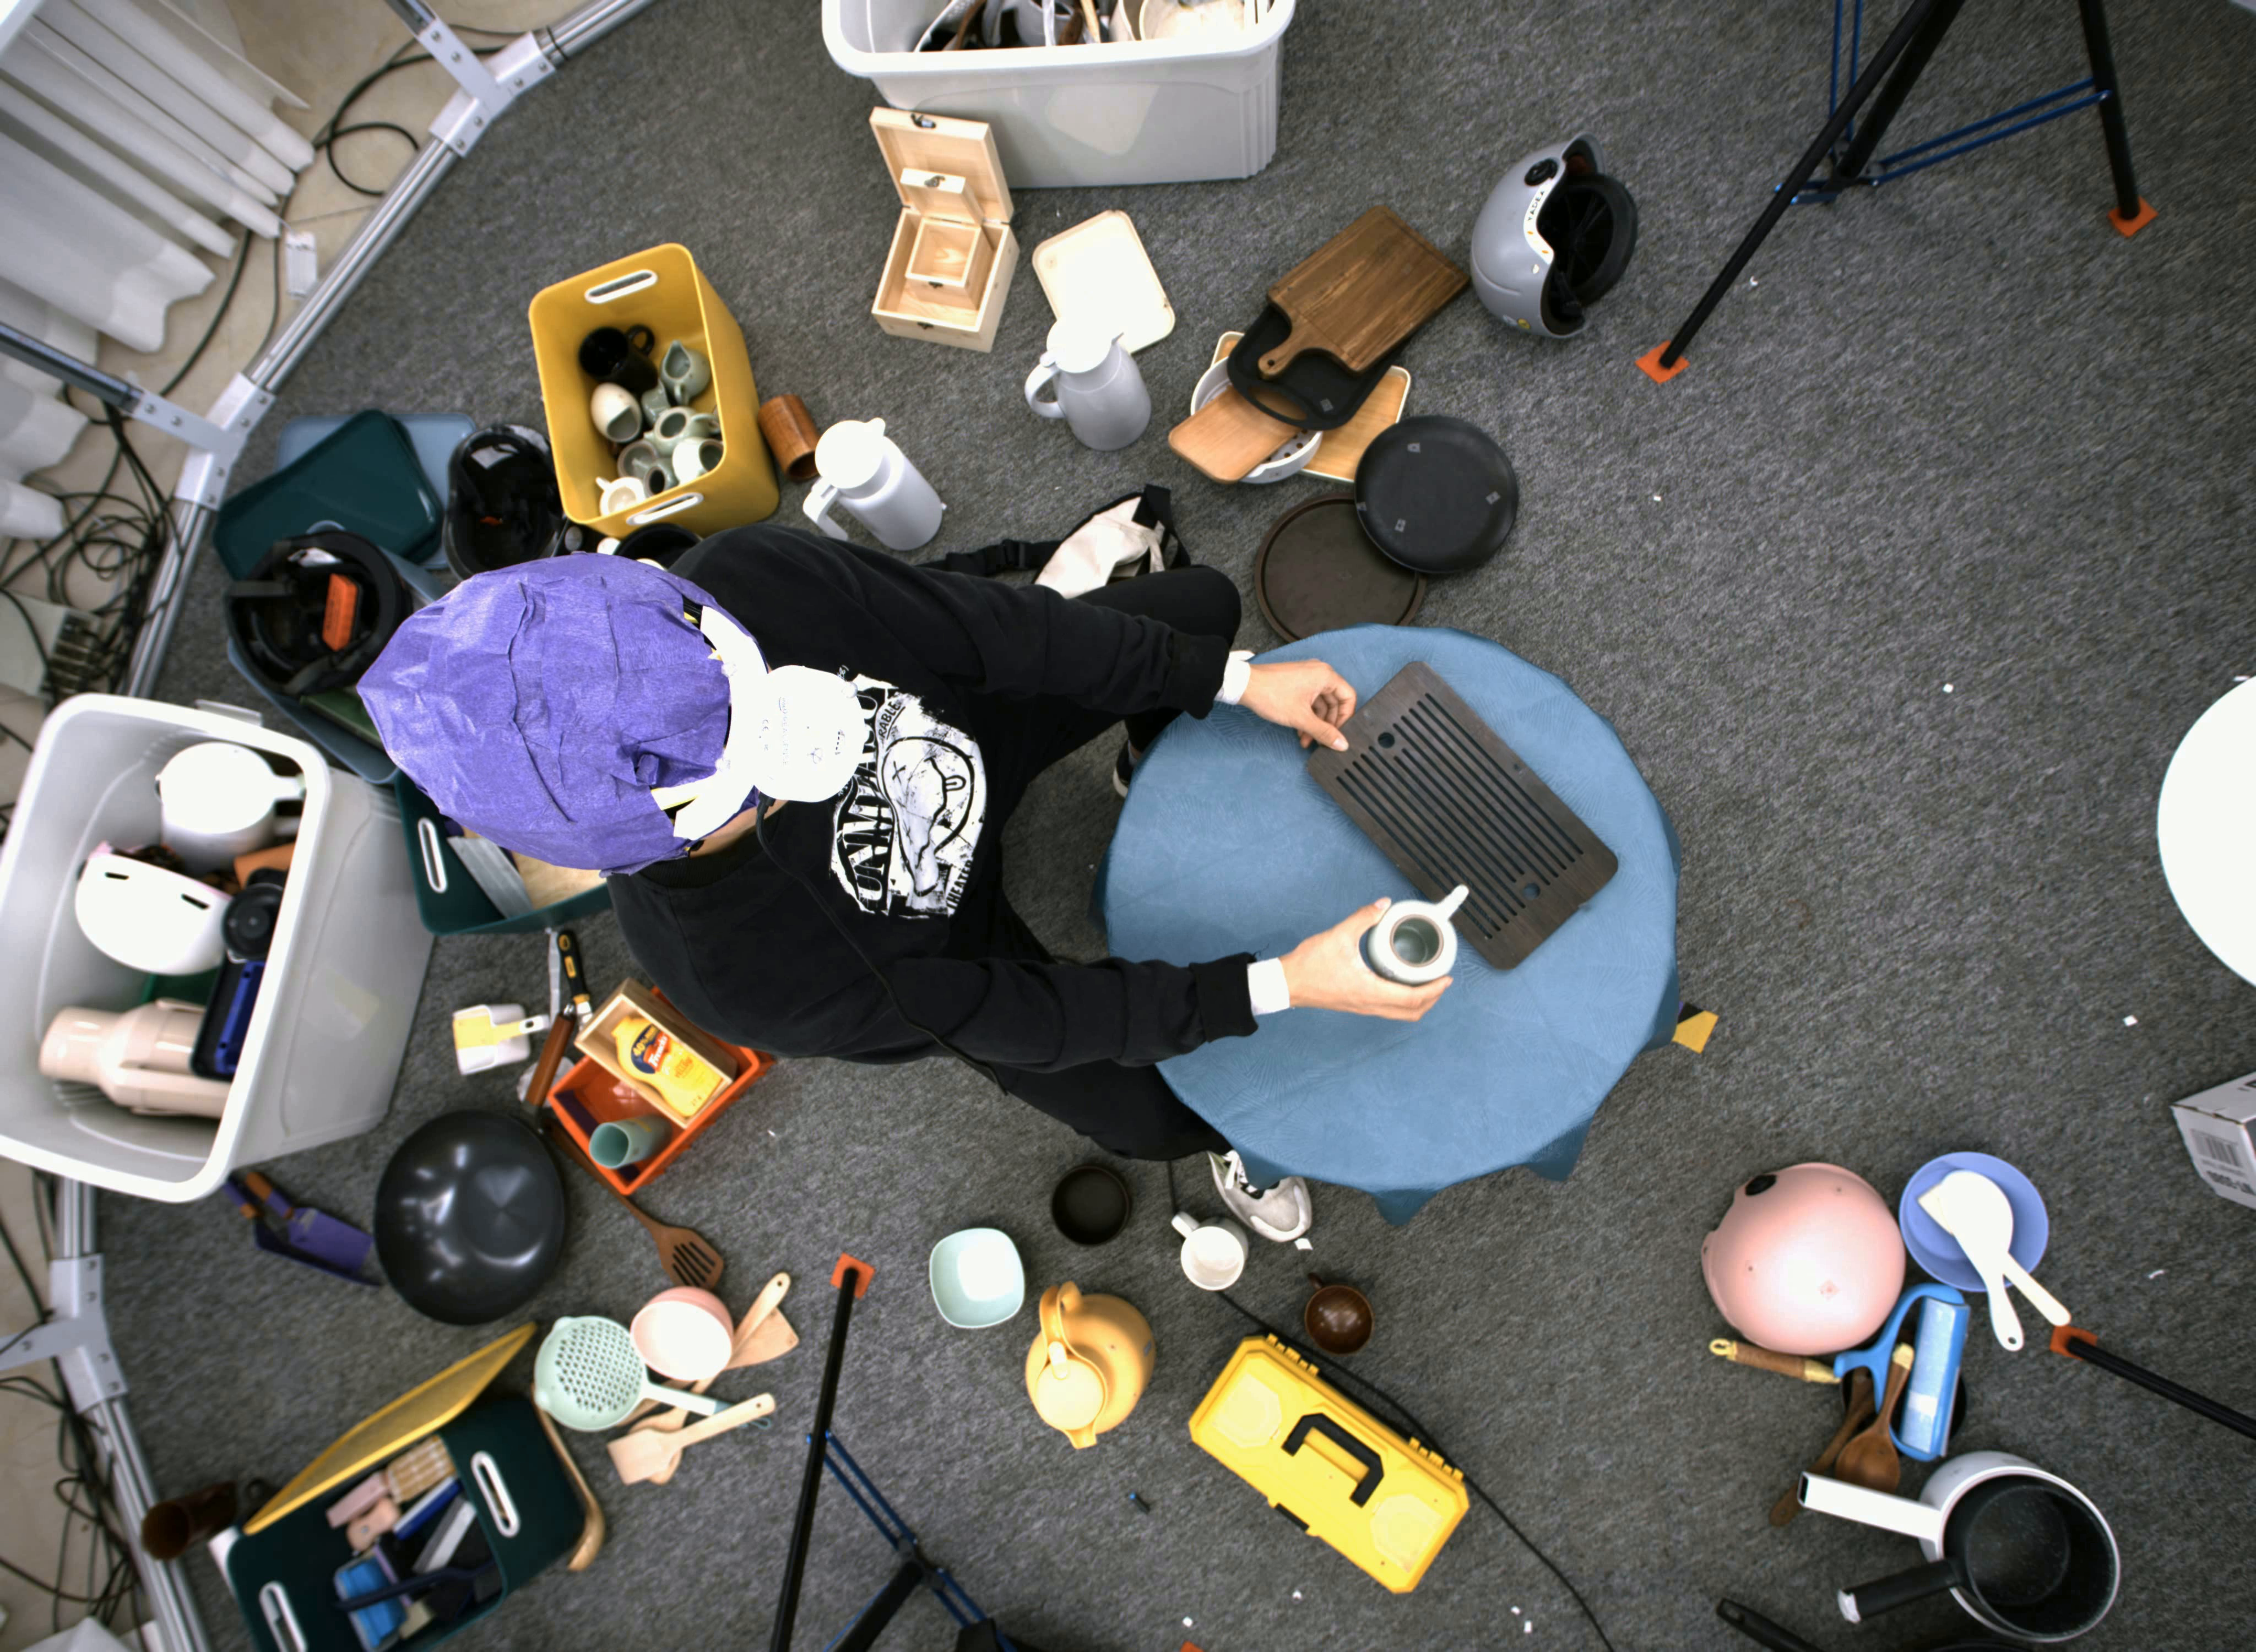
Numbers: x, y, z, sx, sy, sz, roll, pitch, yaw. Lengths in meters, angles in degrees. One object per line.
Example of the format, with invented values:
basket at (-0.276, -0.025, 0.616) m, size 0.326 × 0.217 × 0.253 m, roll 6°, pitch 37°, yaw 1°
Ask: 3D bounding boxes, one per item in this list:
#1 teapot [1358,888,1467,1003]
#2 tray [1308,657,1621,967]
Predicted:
teapot at (0.272, 0.116, 1.337) m, size 0.143 × 0.075 × 0.088 m, roll -44°, pitch 81°, yaw -8°
tray at (0.349, -0.018, 1.433) m, size 0.171 × 0.018 × 0.305 m, roll -43°, pitch 84°, yaw 6°
